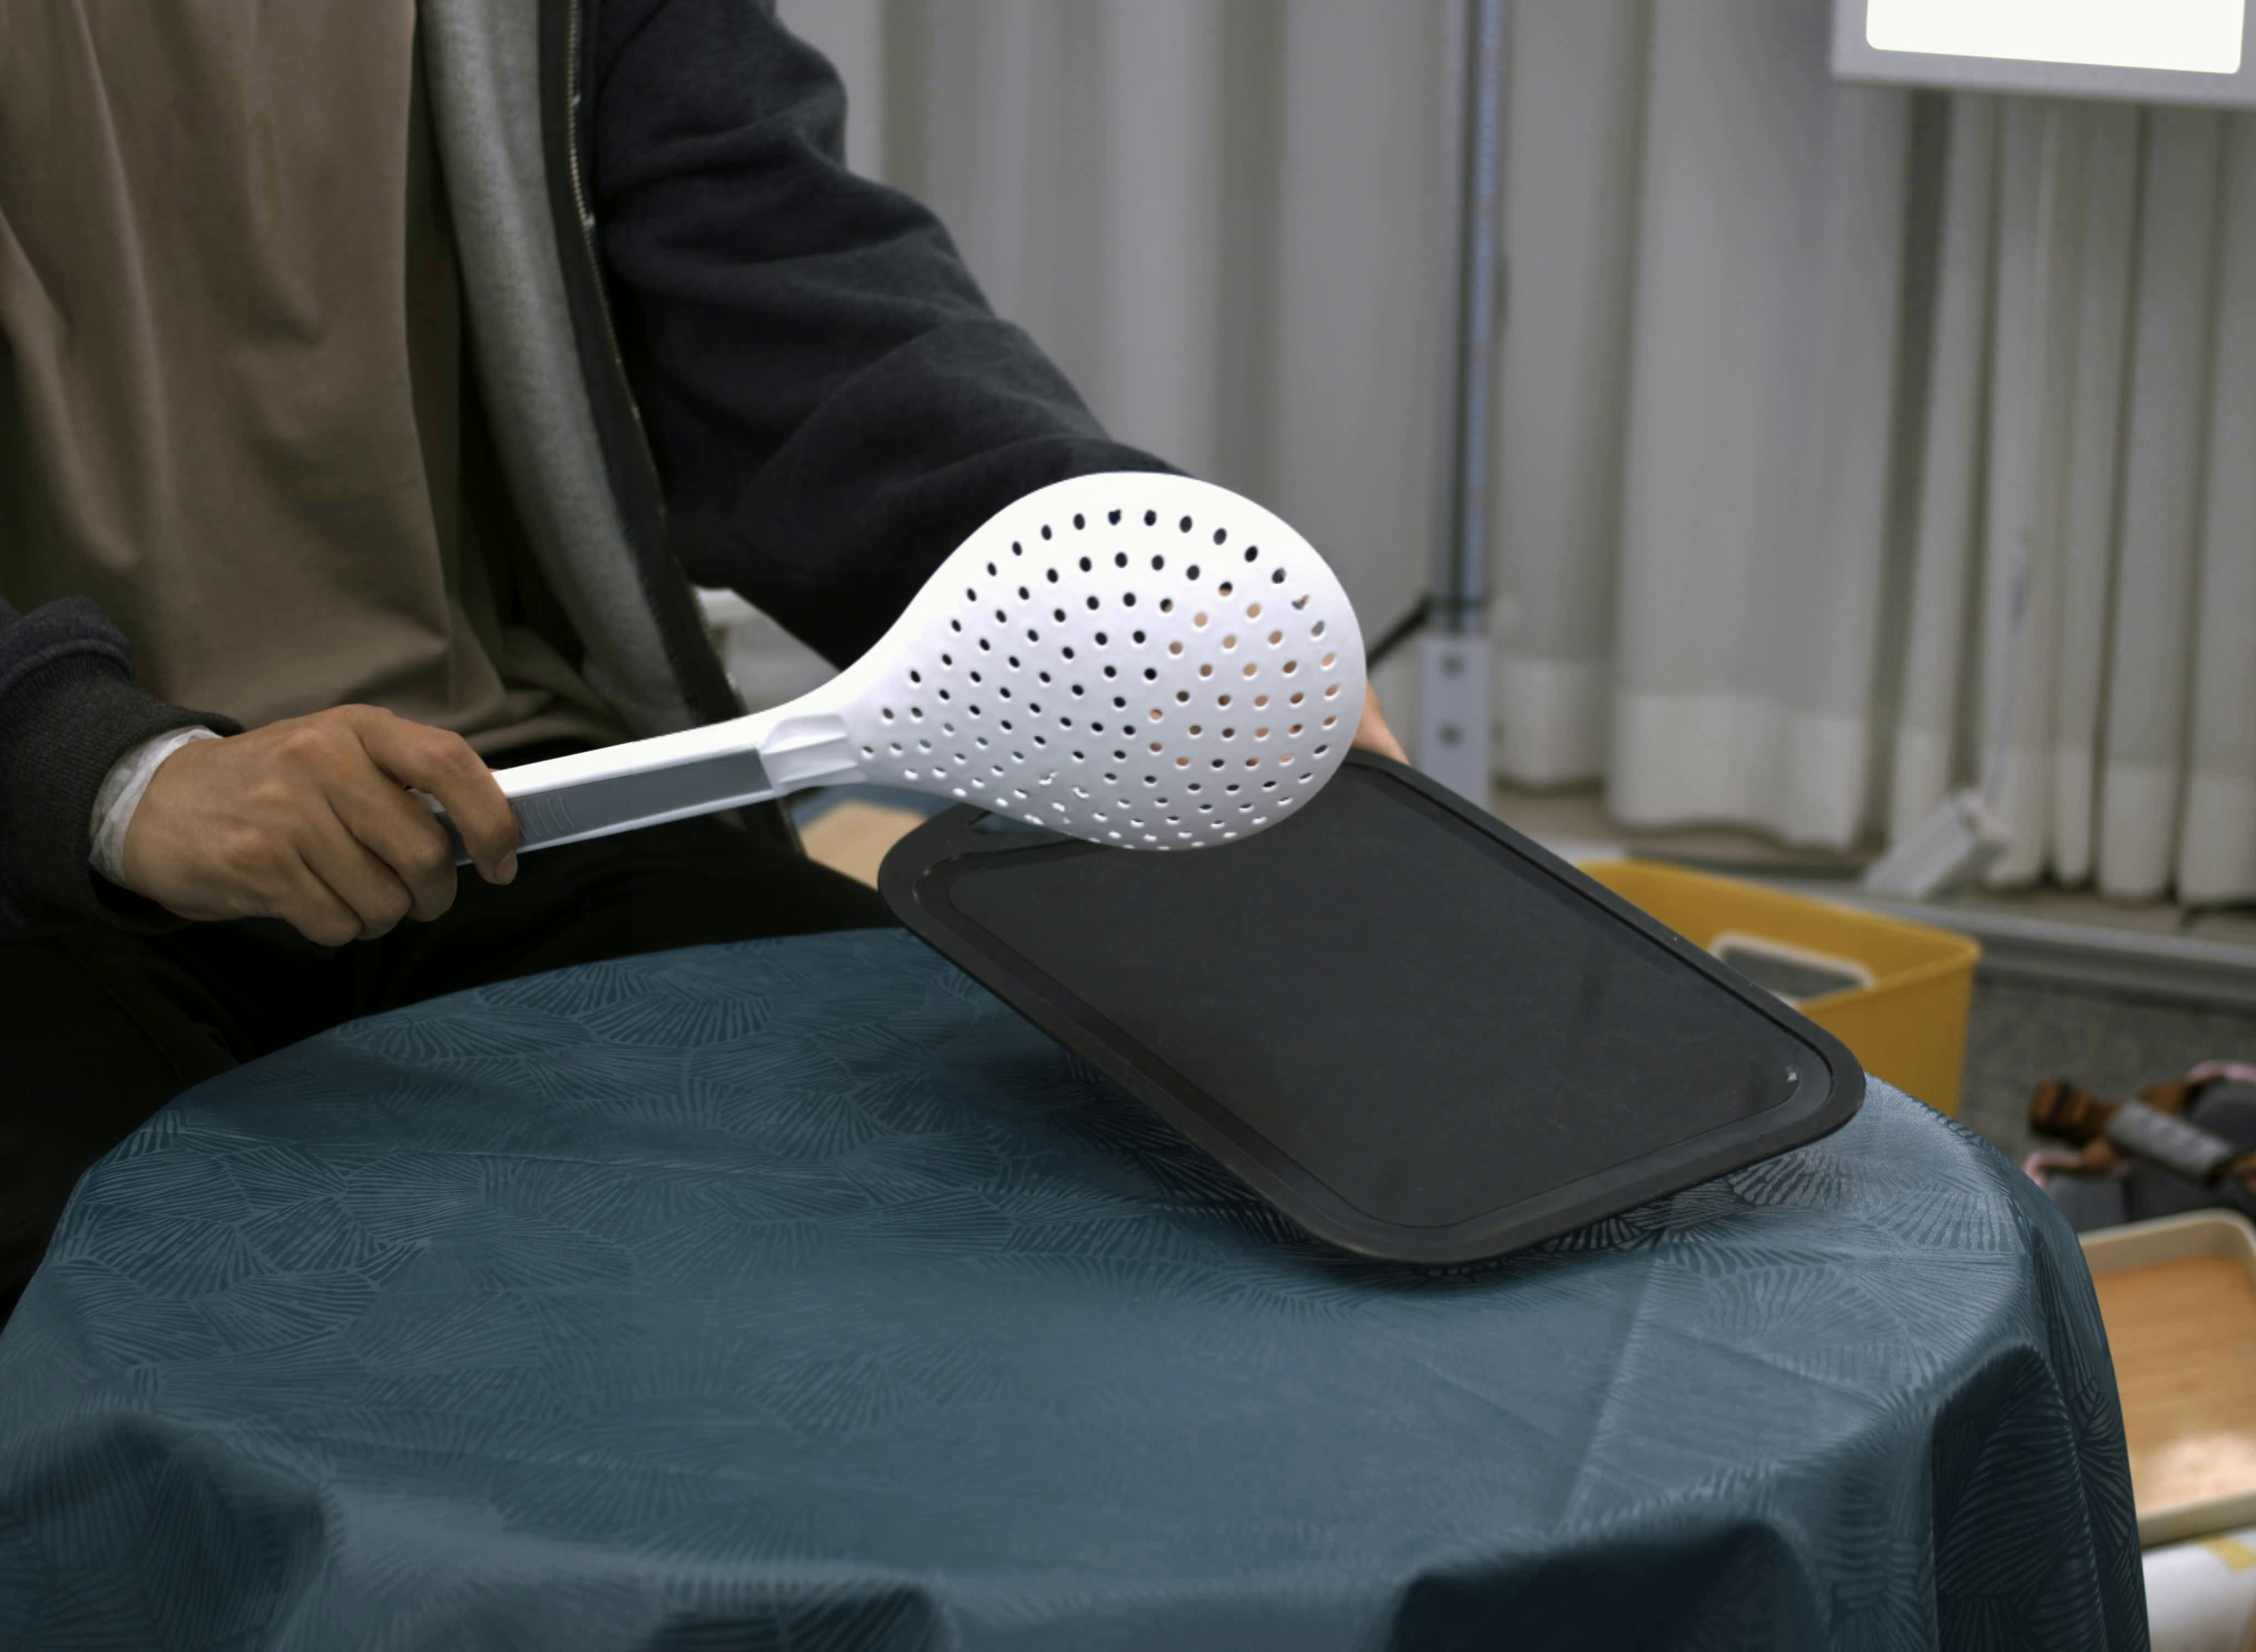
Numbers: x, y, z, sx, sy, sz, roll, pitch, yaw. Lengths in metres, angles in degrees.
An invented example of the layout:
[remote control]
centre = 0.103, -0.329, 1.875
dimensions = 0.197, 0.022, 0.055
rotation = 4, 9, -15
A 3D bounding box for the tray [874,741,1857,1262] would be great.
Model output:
[tray]
centre = 0.066, 0.044, 1.686
dimensions = 0.212, 0.010, 0.321
rotation = -17, 34, -32

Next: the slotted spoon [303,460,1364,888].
[slotted spoon]
centre = -0.097, -0.028, 1.640
dimensions = 0.347, 0.138, 0.045
rotation = -9, 31, 19
